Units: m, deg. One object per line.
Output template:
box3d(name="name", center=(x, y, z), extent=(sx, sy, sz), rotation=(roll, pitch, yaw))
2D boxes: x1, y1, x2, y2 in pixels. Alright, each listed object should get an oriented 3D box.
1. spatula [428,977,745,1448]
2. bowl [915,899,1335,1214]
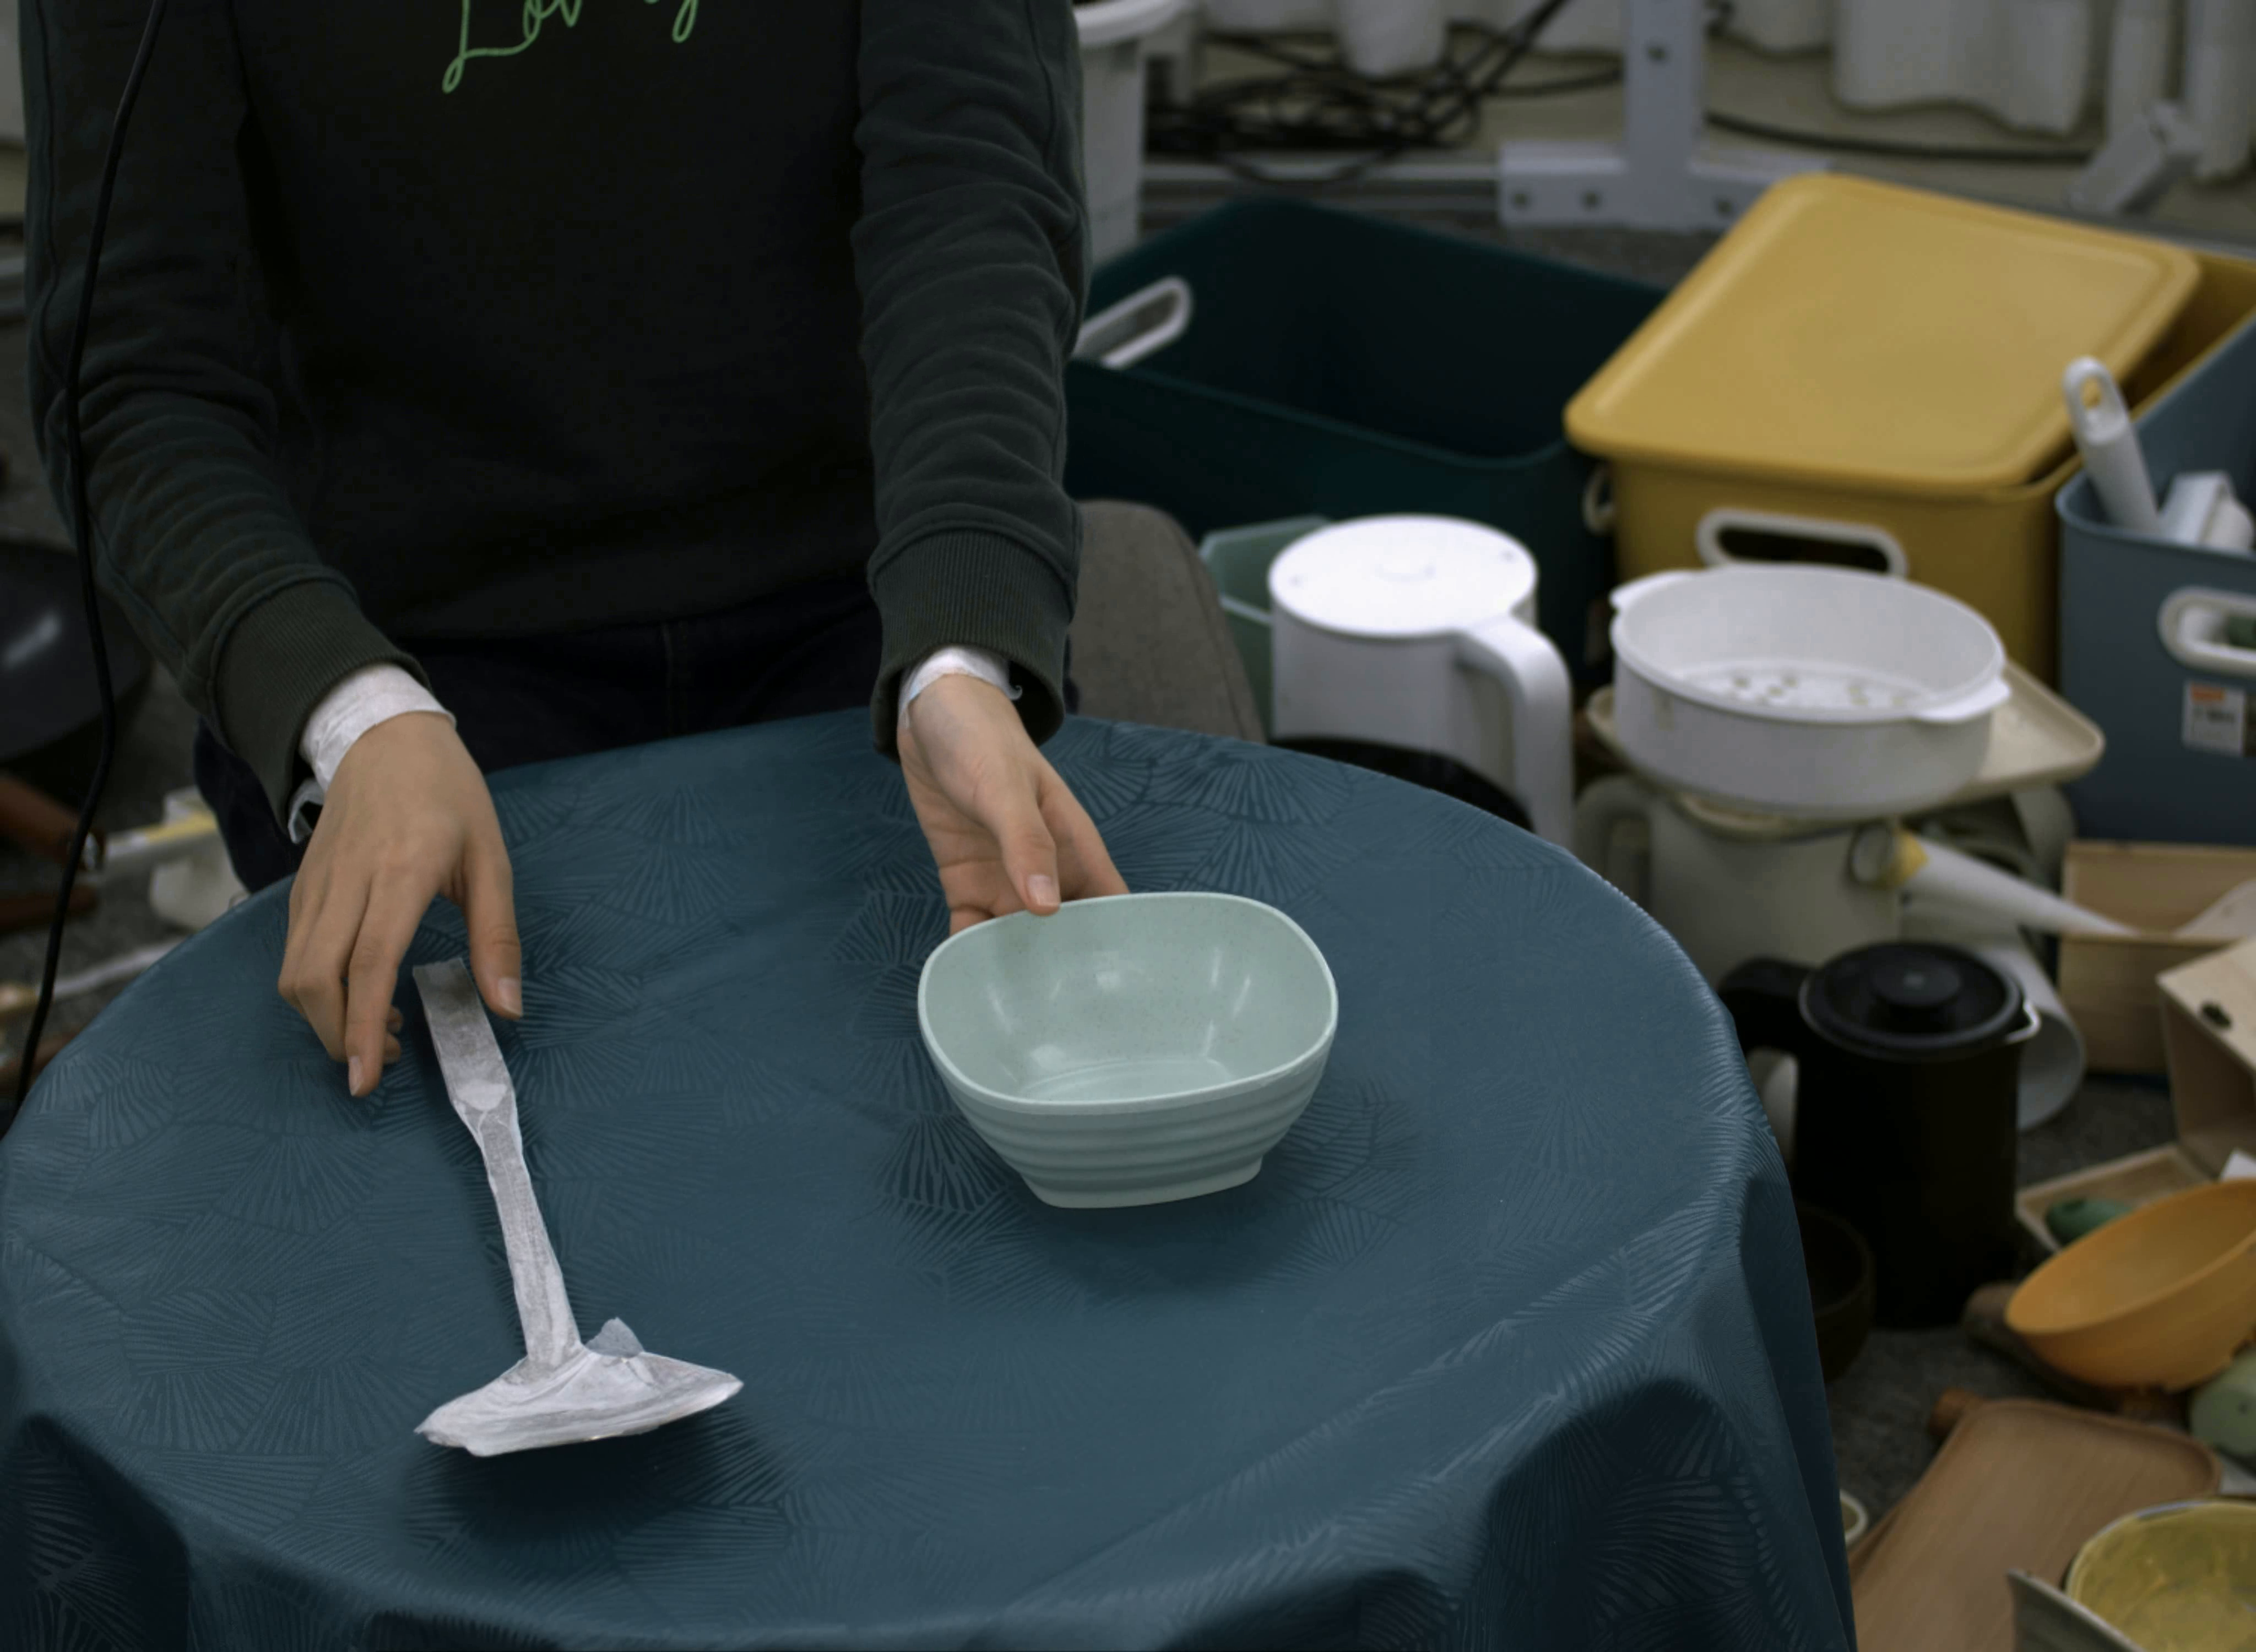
box3d(name="spatula", center=(-0.198, 0.119, 1.845), extent=(0.098, 0.044, 0.369), rotation=(-10, 28, -9))
box3d(name="bowl", center=(-0.001, 0.083, 1.879), extent=(0.151, 0.058, 0.154), rotation=(-1, 27, 1))
